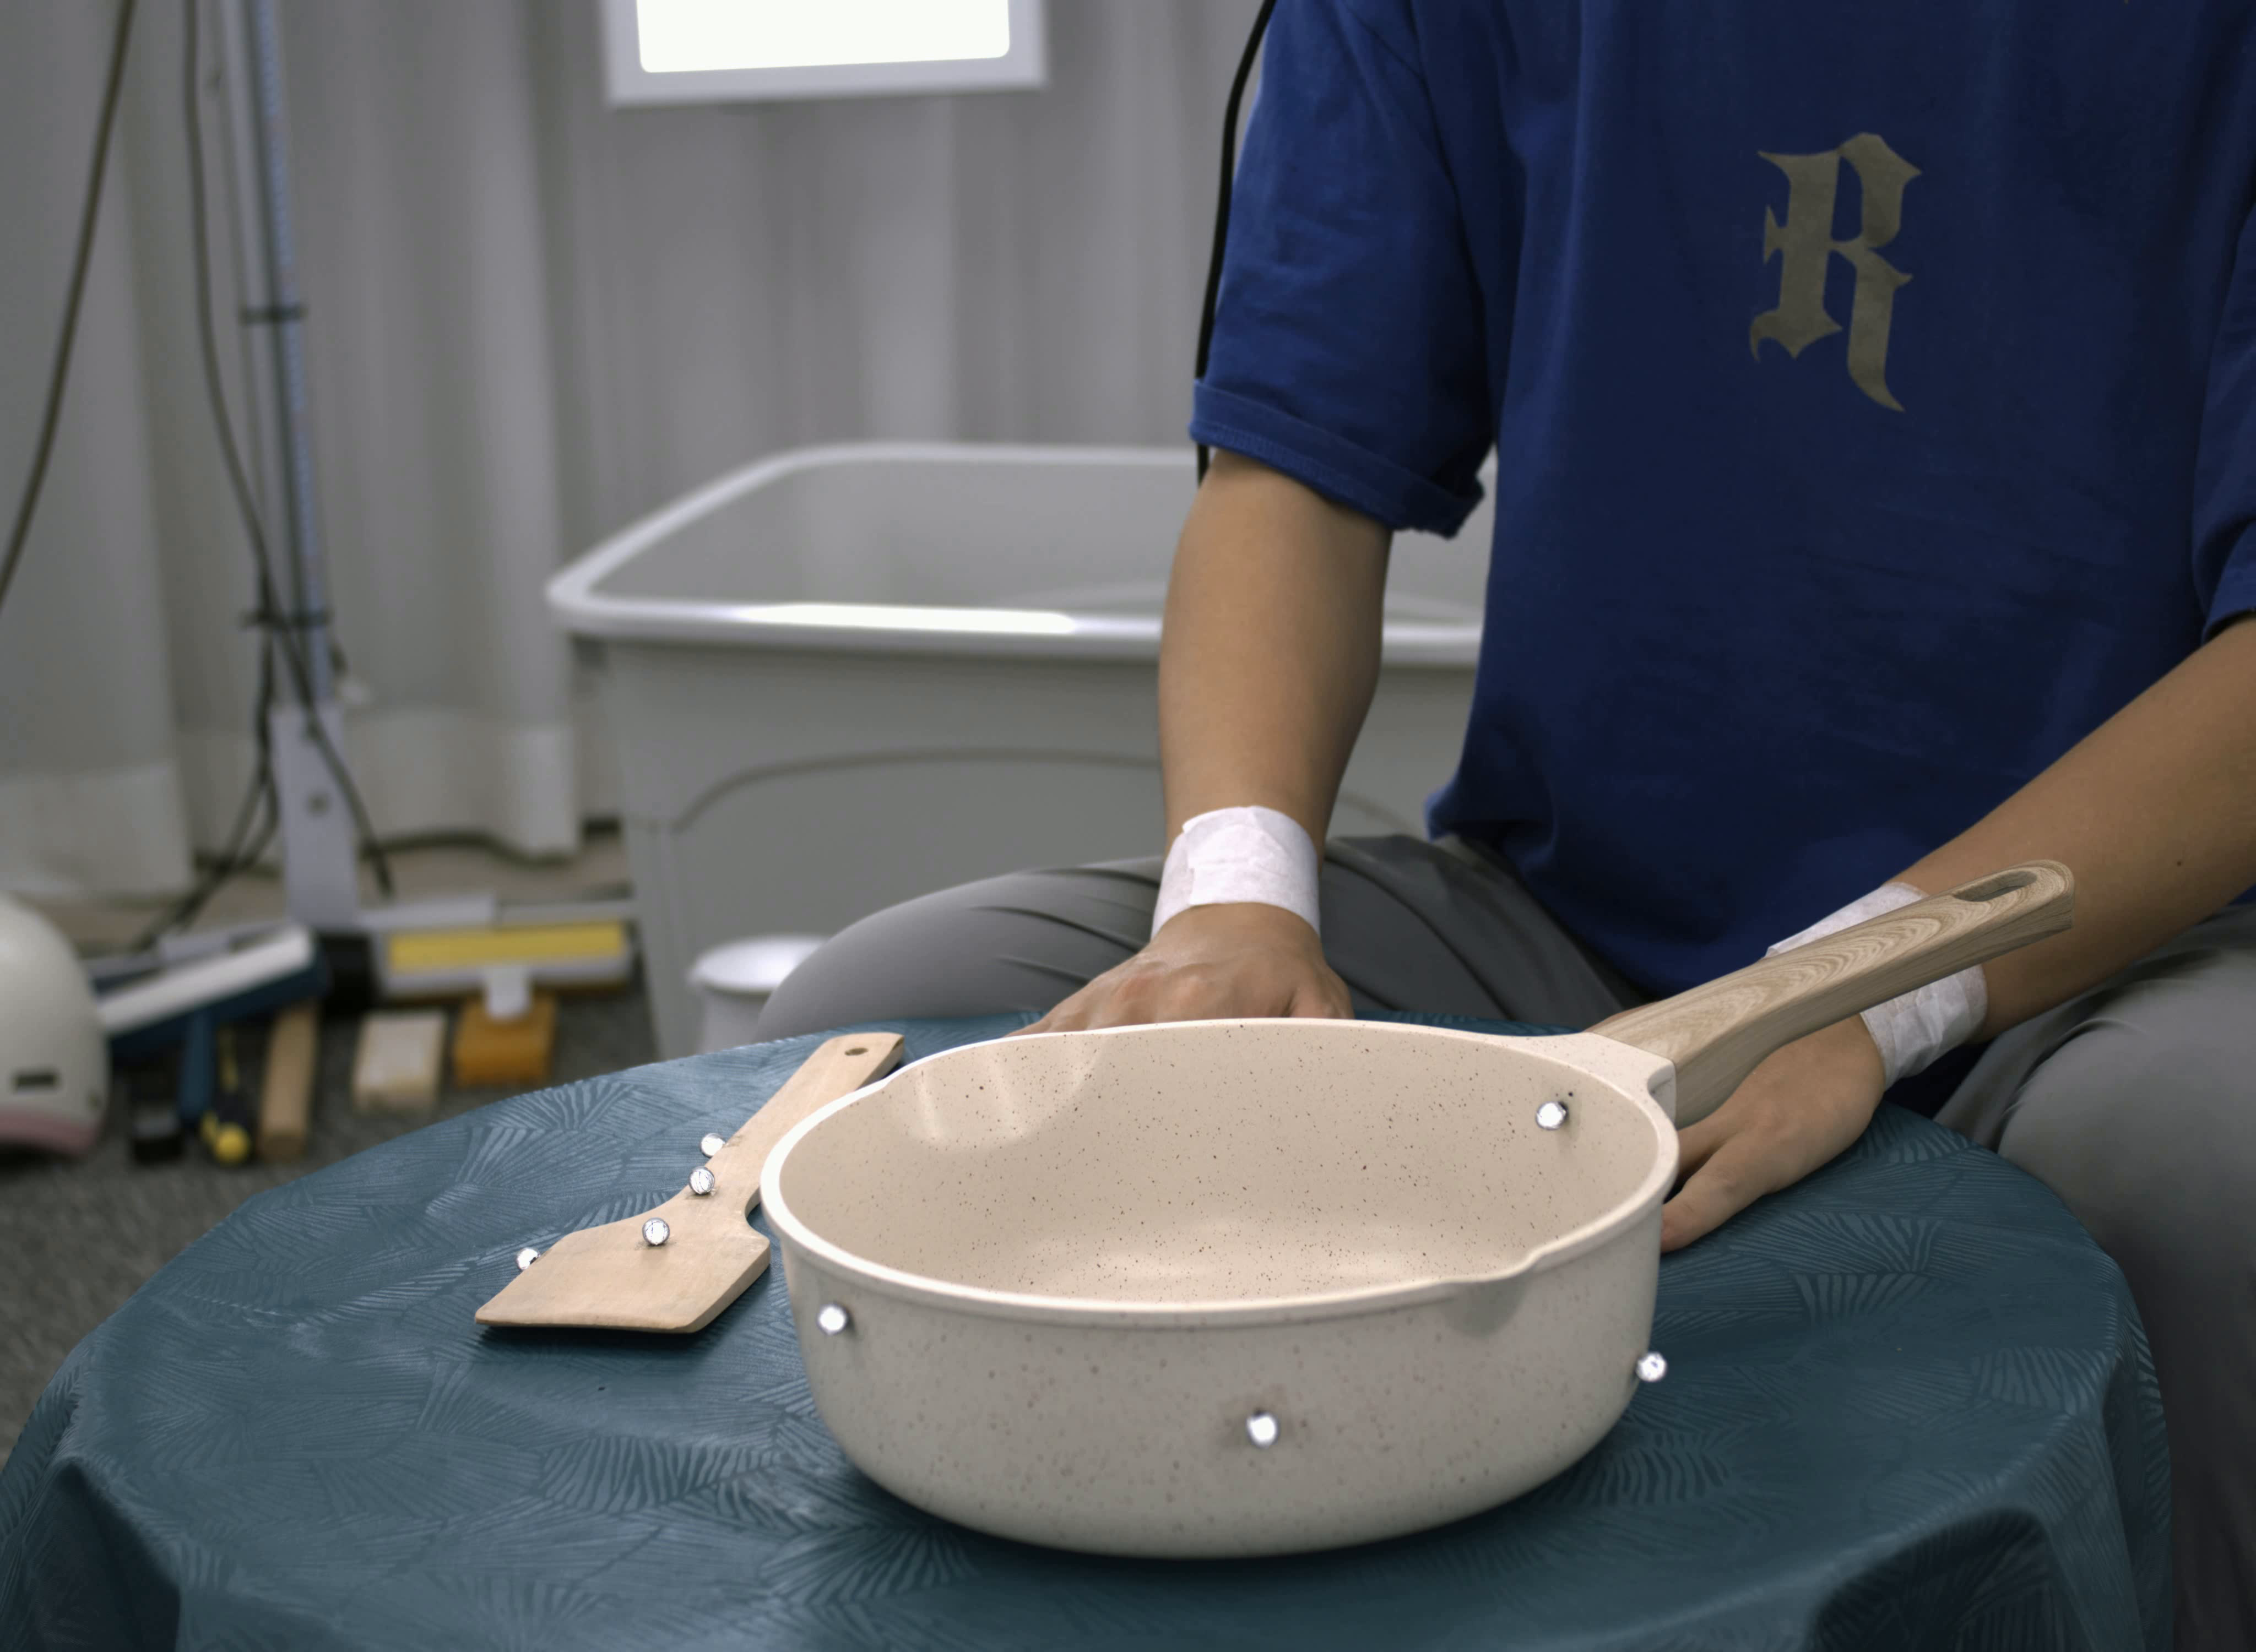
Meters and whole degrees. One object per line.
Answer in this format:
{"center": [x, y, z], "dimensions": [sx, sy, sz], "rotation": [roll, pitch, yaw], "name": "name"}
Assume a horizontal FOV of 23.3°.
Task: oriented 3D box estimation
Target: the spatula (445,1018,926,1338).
{"center": [-0.126, 0.109, 1.737], "dimensions": [0.072, 0.010, 0.294], "rotation": [0, 16, 19], "name": "spatula"}

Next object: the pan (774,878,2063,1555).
{"center": [0.105, 0.104, 1.540], "dimensions": [0.433, 0.101, 0.265], "rotation": [-12, 15, -33], "name": "pan"}
